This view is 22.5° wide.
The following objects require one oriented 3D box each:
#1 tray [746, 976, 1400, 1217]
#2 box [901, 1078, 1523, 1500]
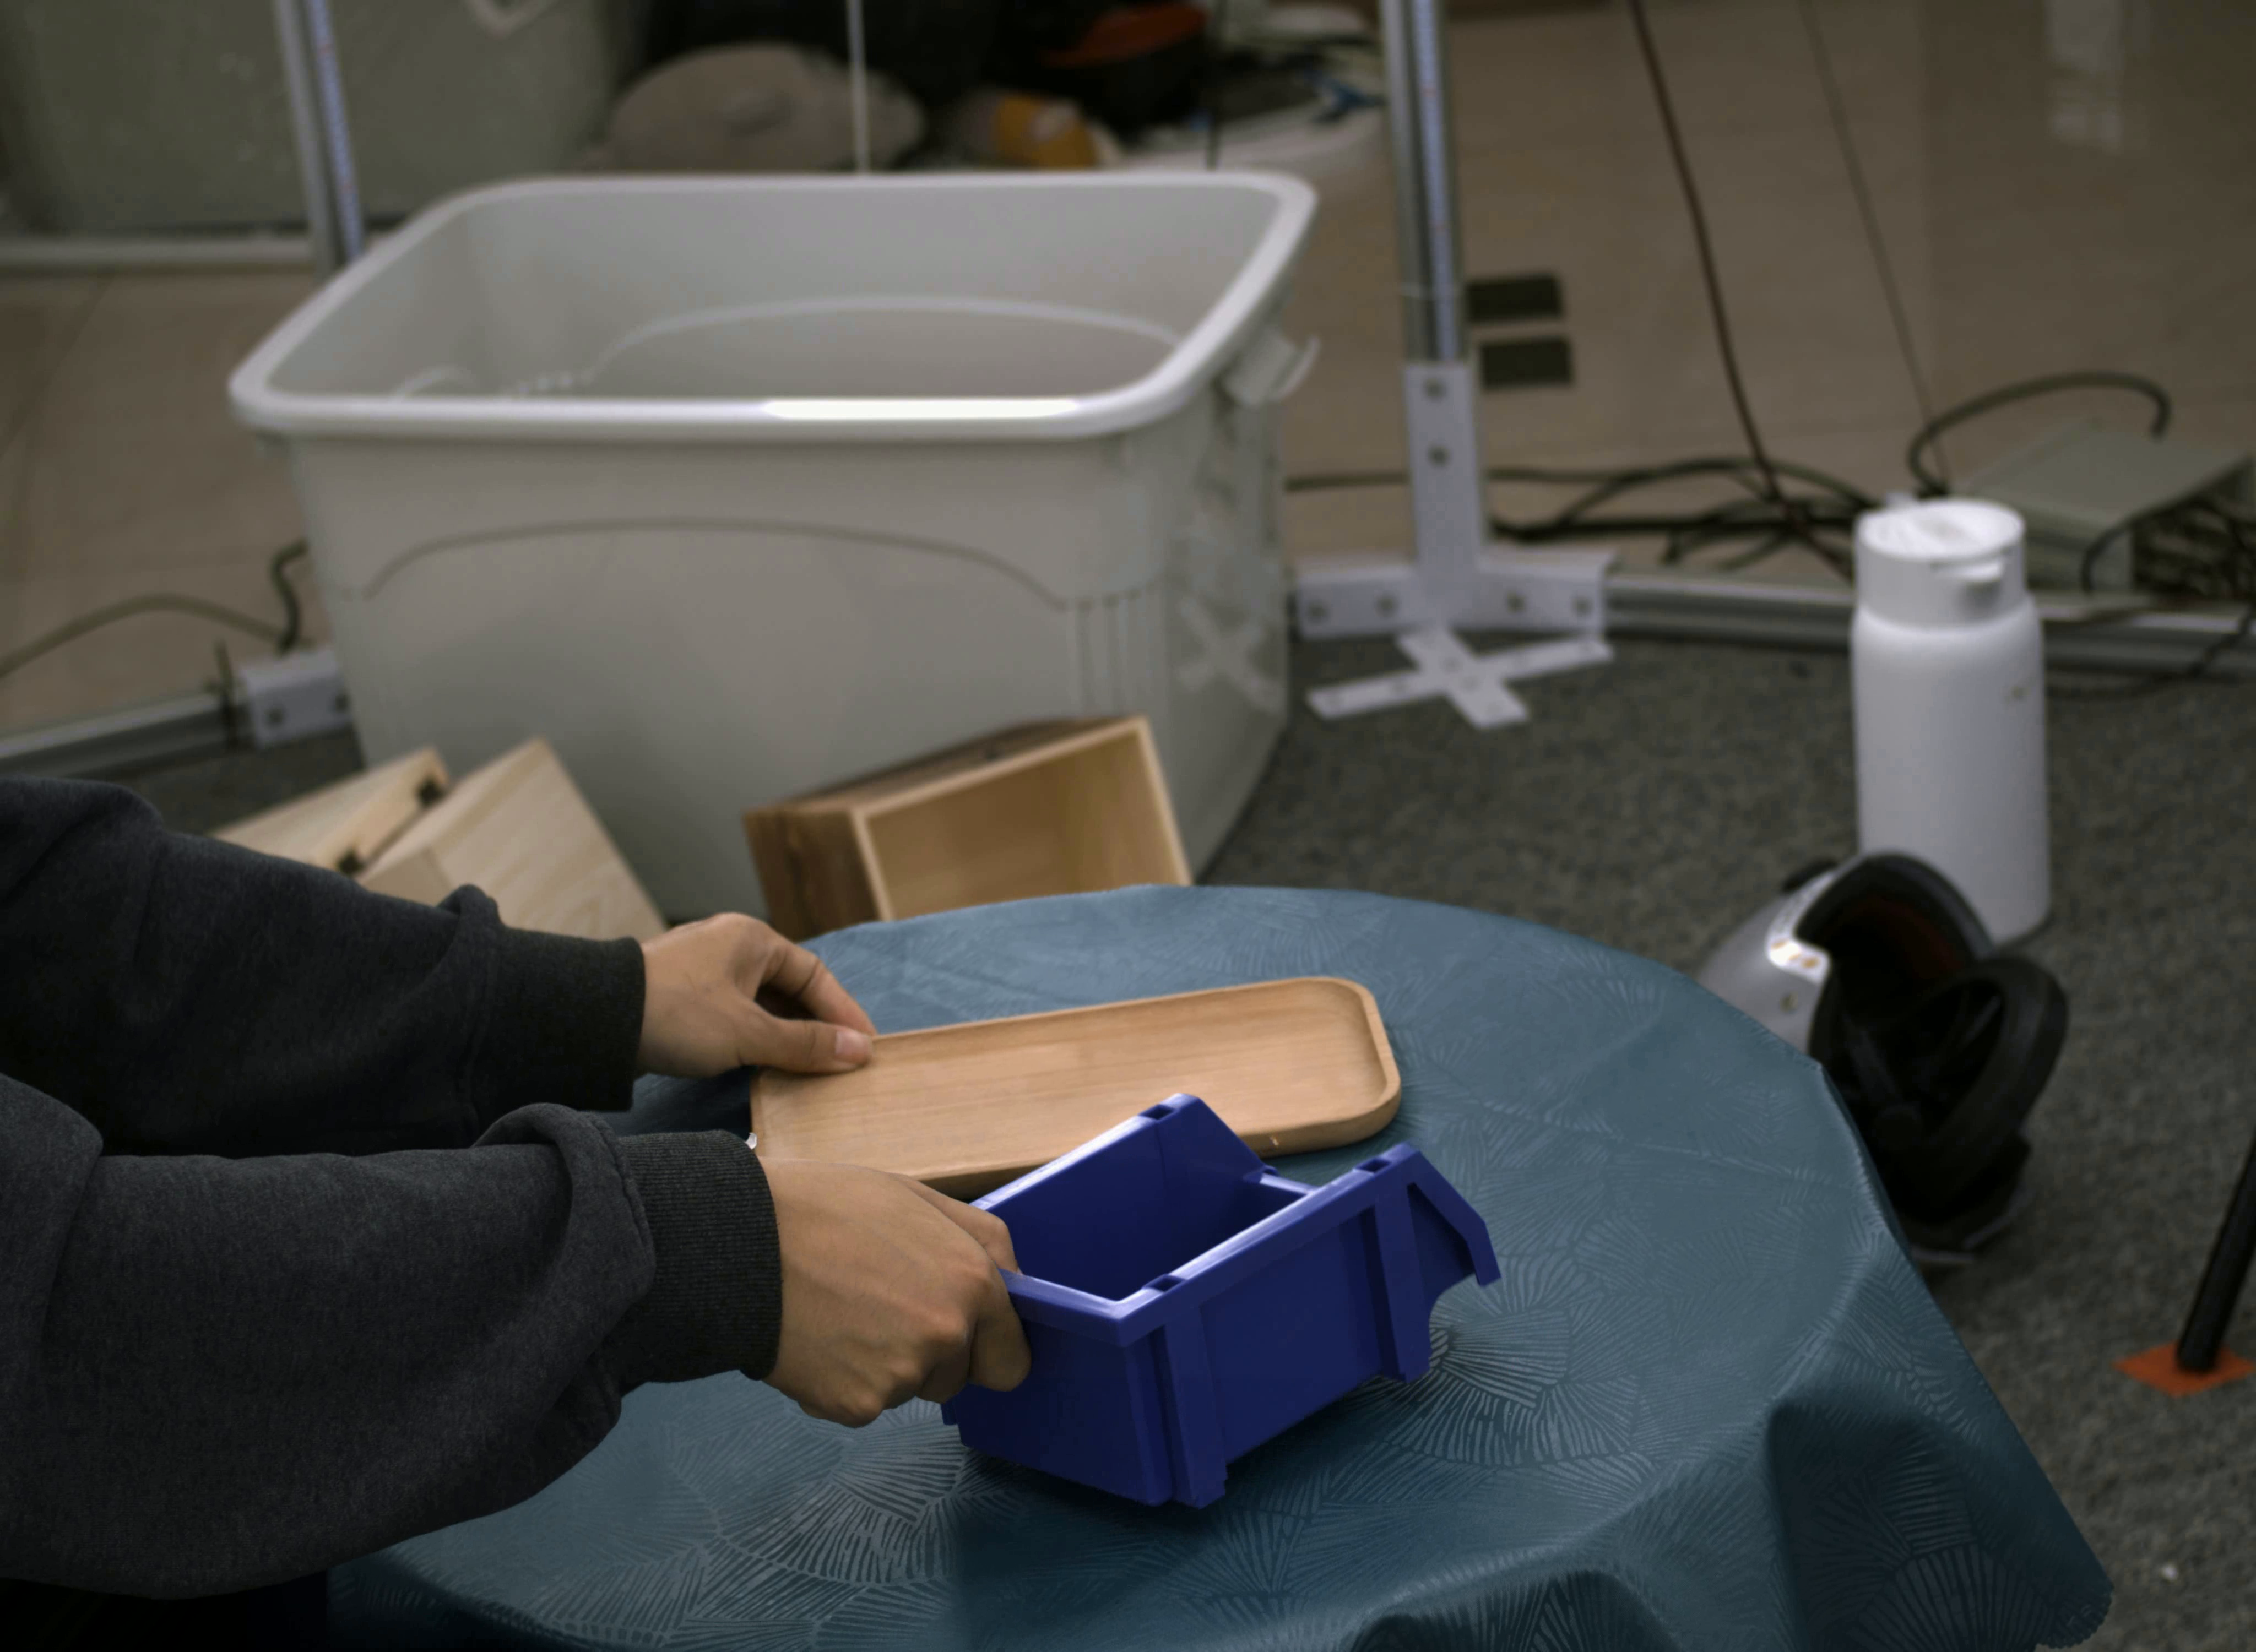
[{"bbox_3d":[-0.022,0.105,2.204,0.250,0.023,0.129,-8,22,-2],"label":"tray"},{"bbox_3d":[0.030,0.157,1.987,0.178,0.083,0.124,-28,27,-34],"label":"box"}]
